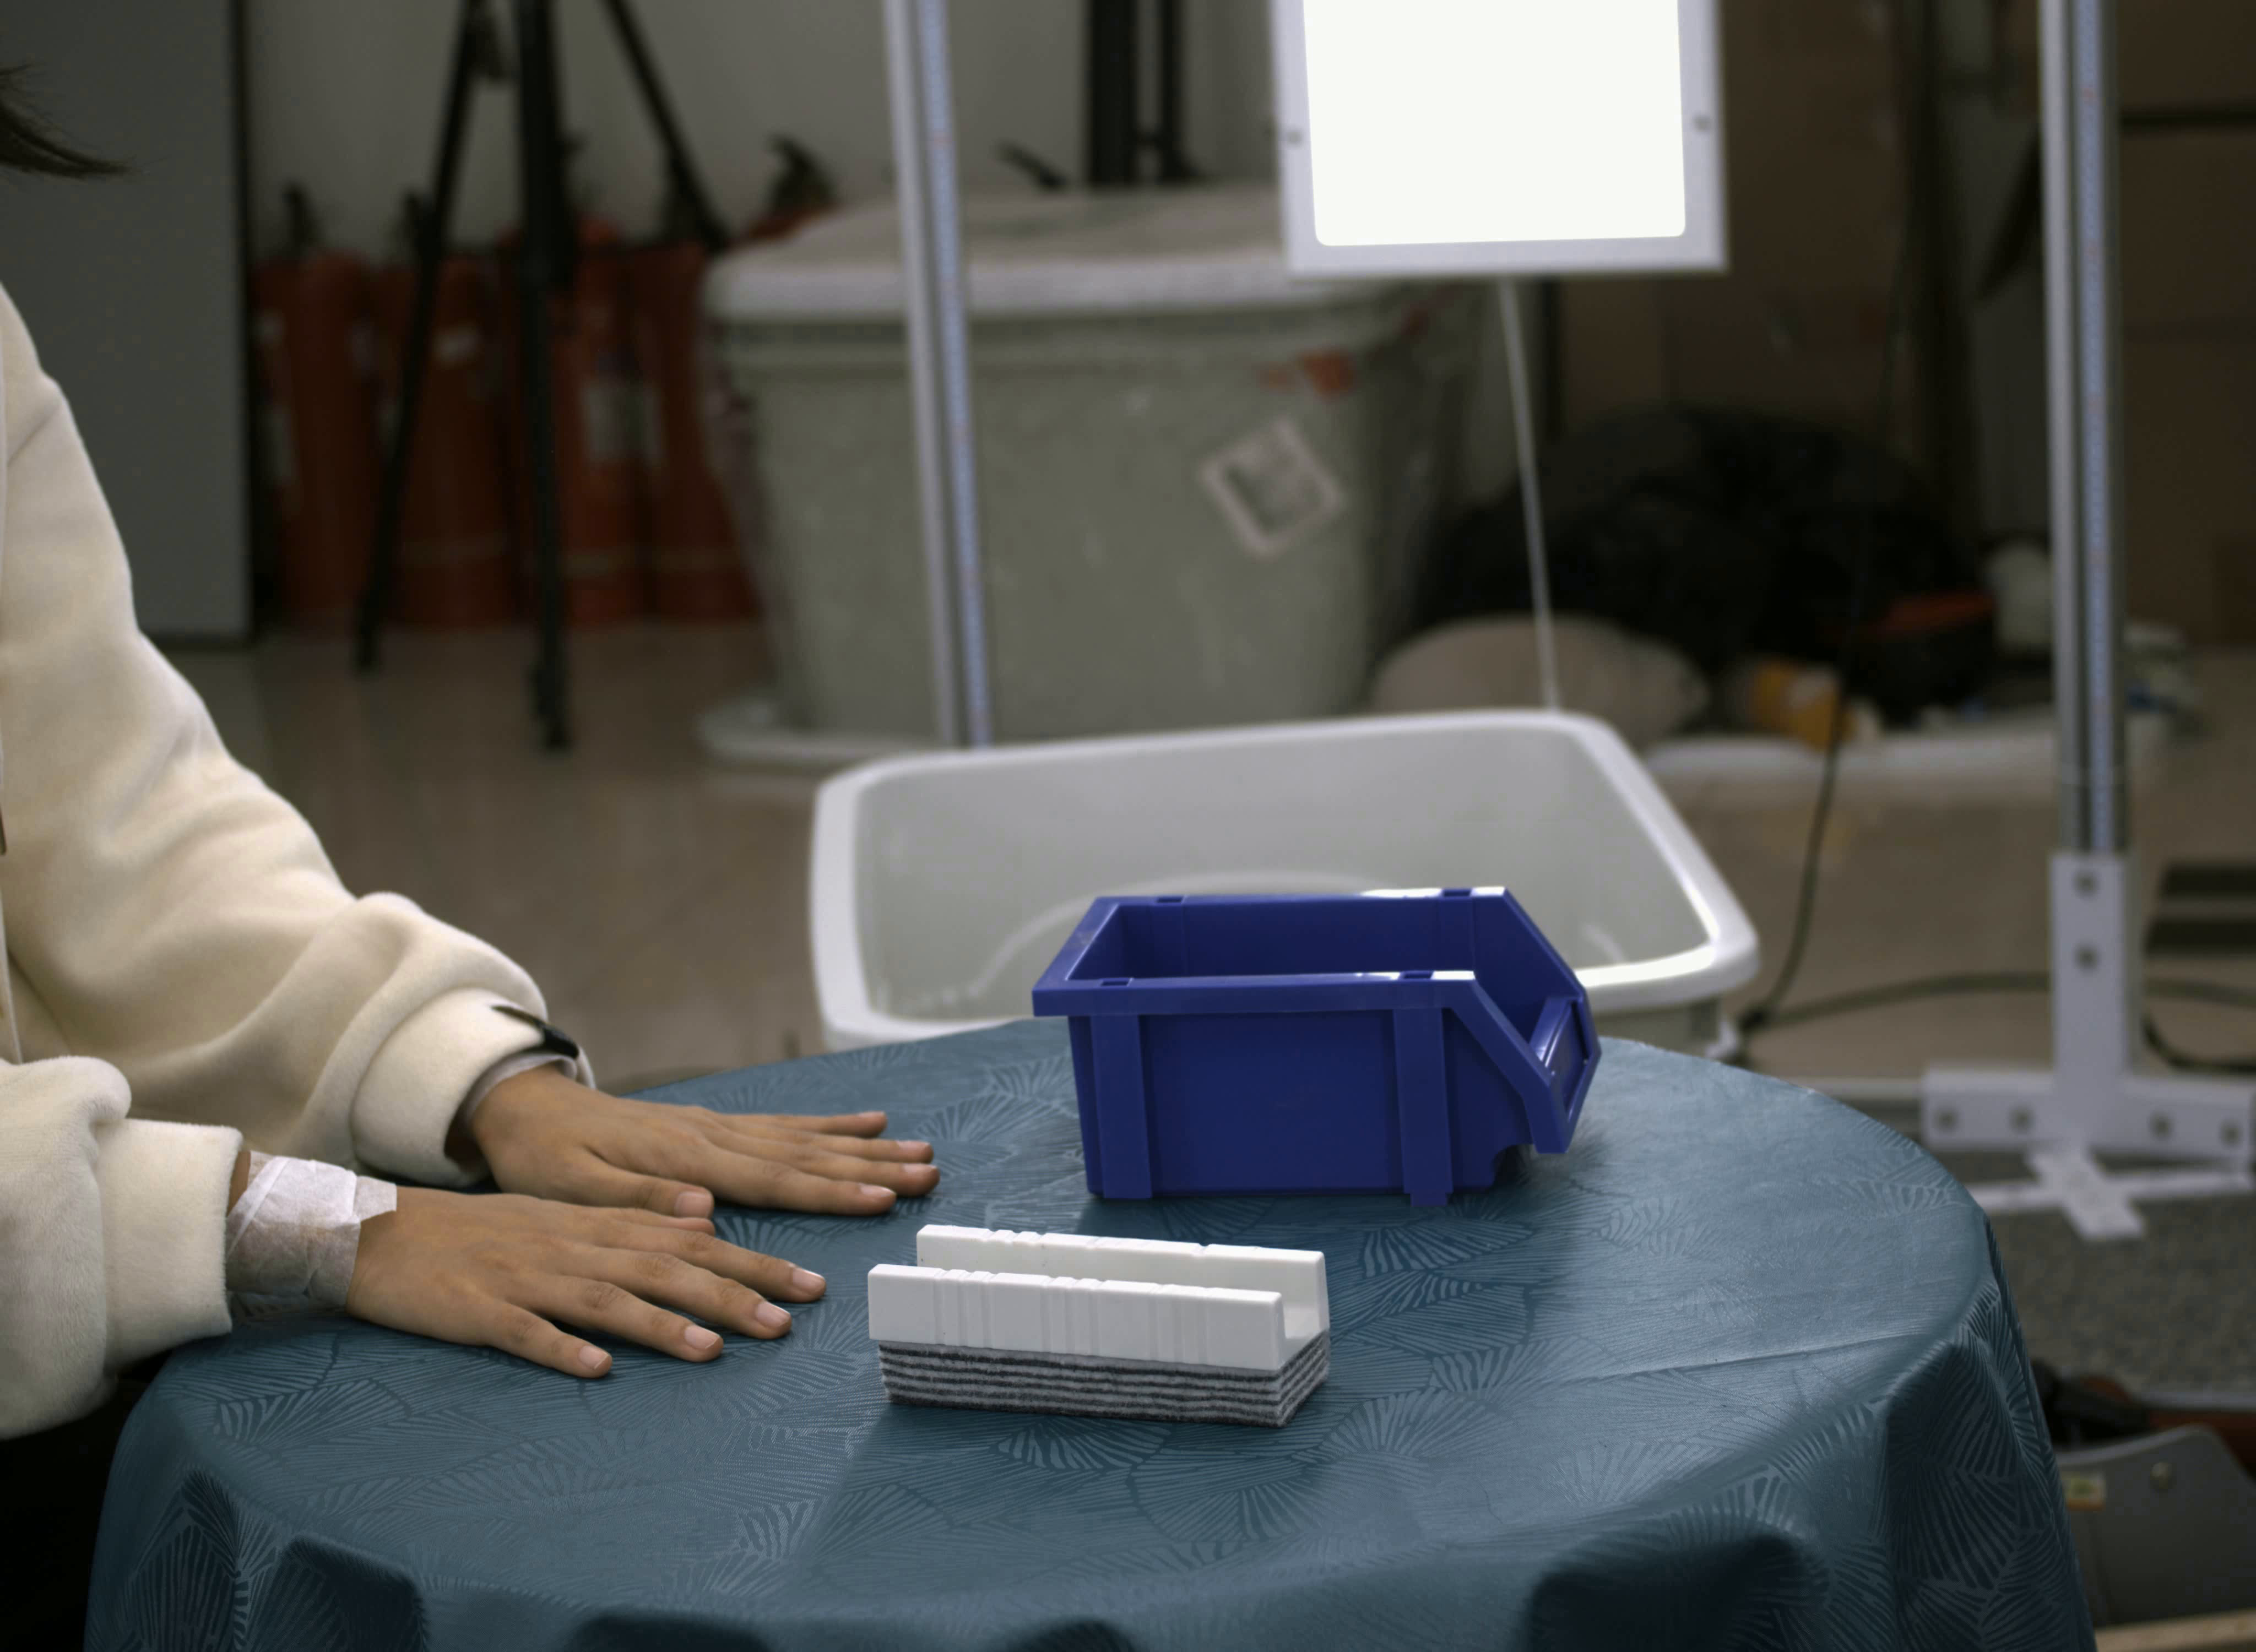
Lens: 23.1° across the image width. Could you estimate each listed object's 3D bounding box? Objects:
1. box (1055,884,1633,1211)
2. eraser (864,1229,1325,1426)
[{"bbox_3d":[0.079,0.075,1.908,0.181,0.082,0.123,-3,14,15],"label":"box"},{"bbox_3d":[-0.010,0.153,1.693,0.136,0.047,0.049,2,17,21],"label":"eraser"}]
